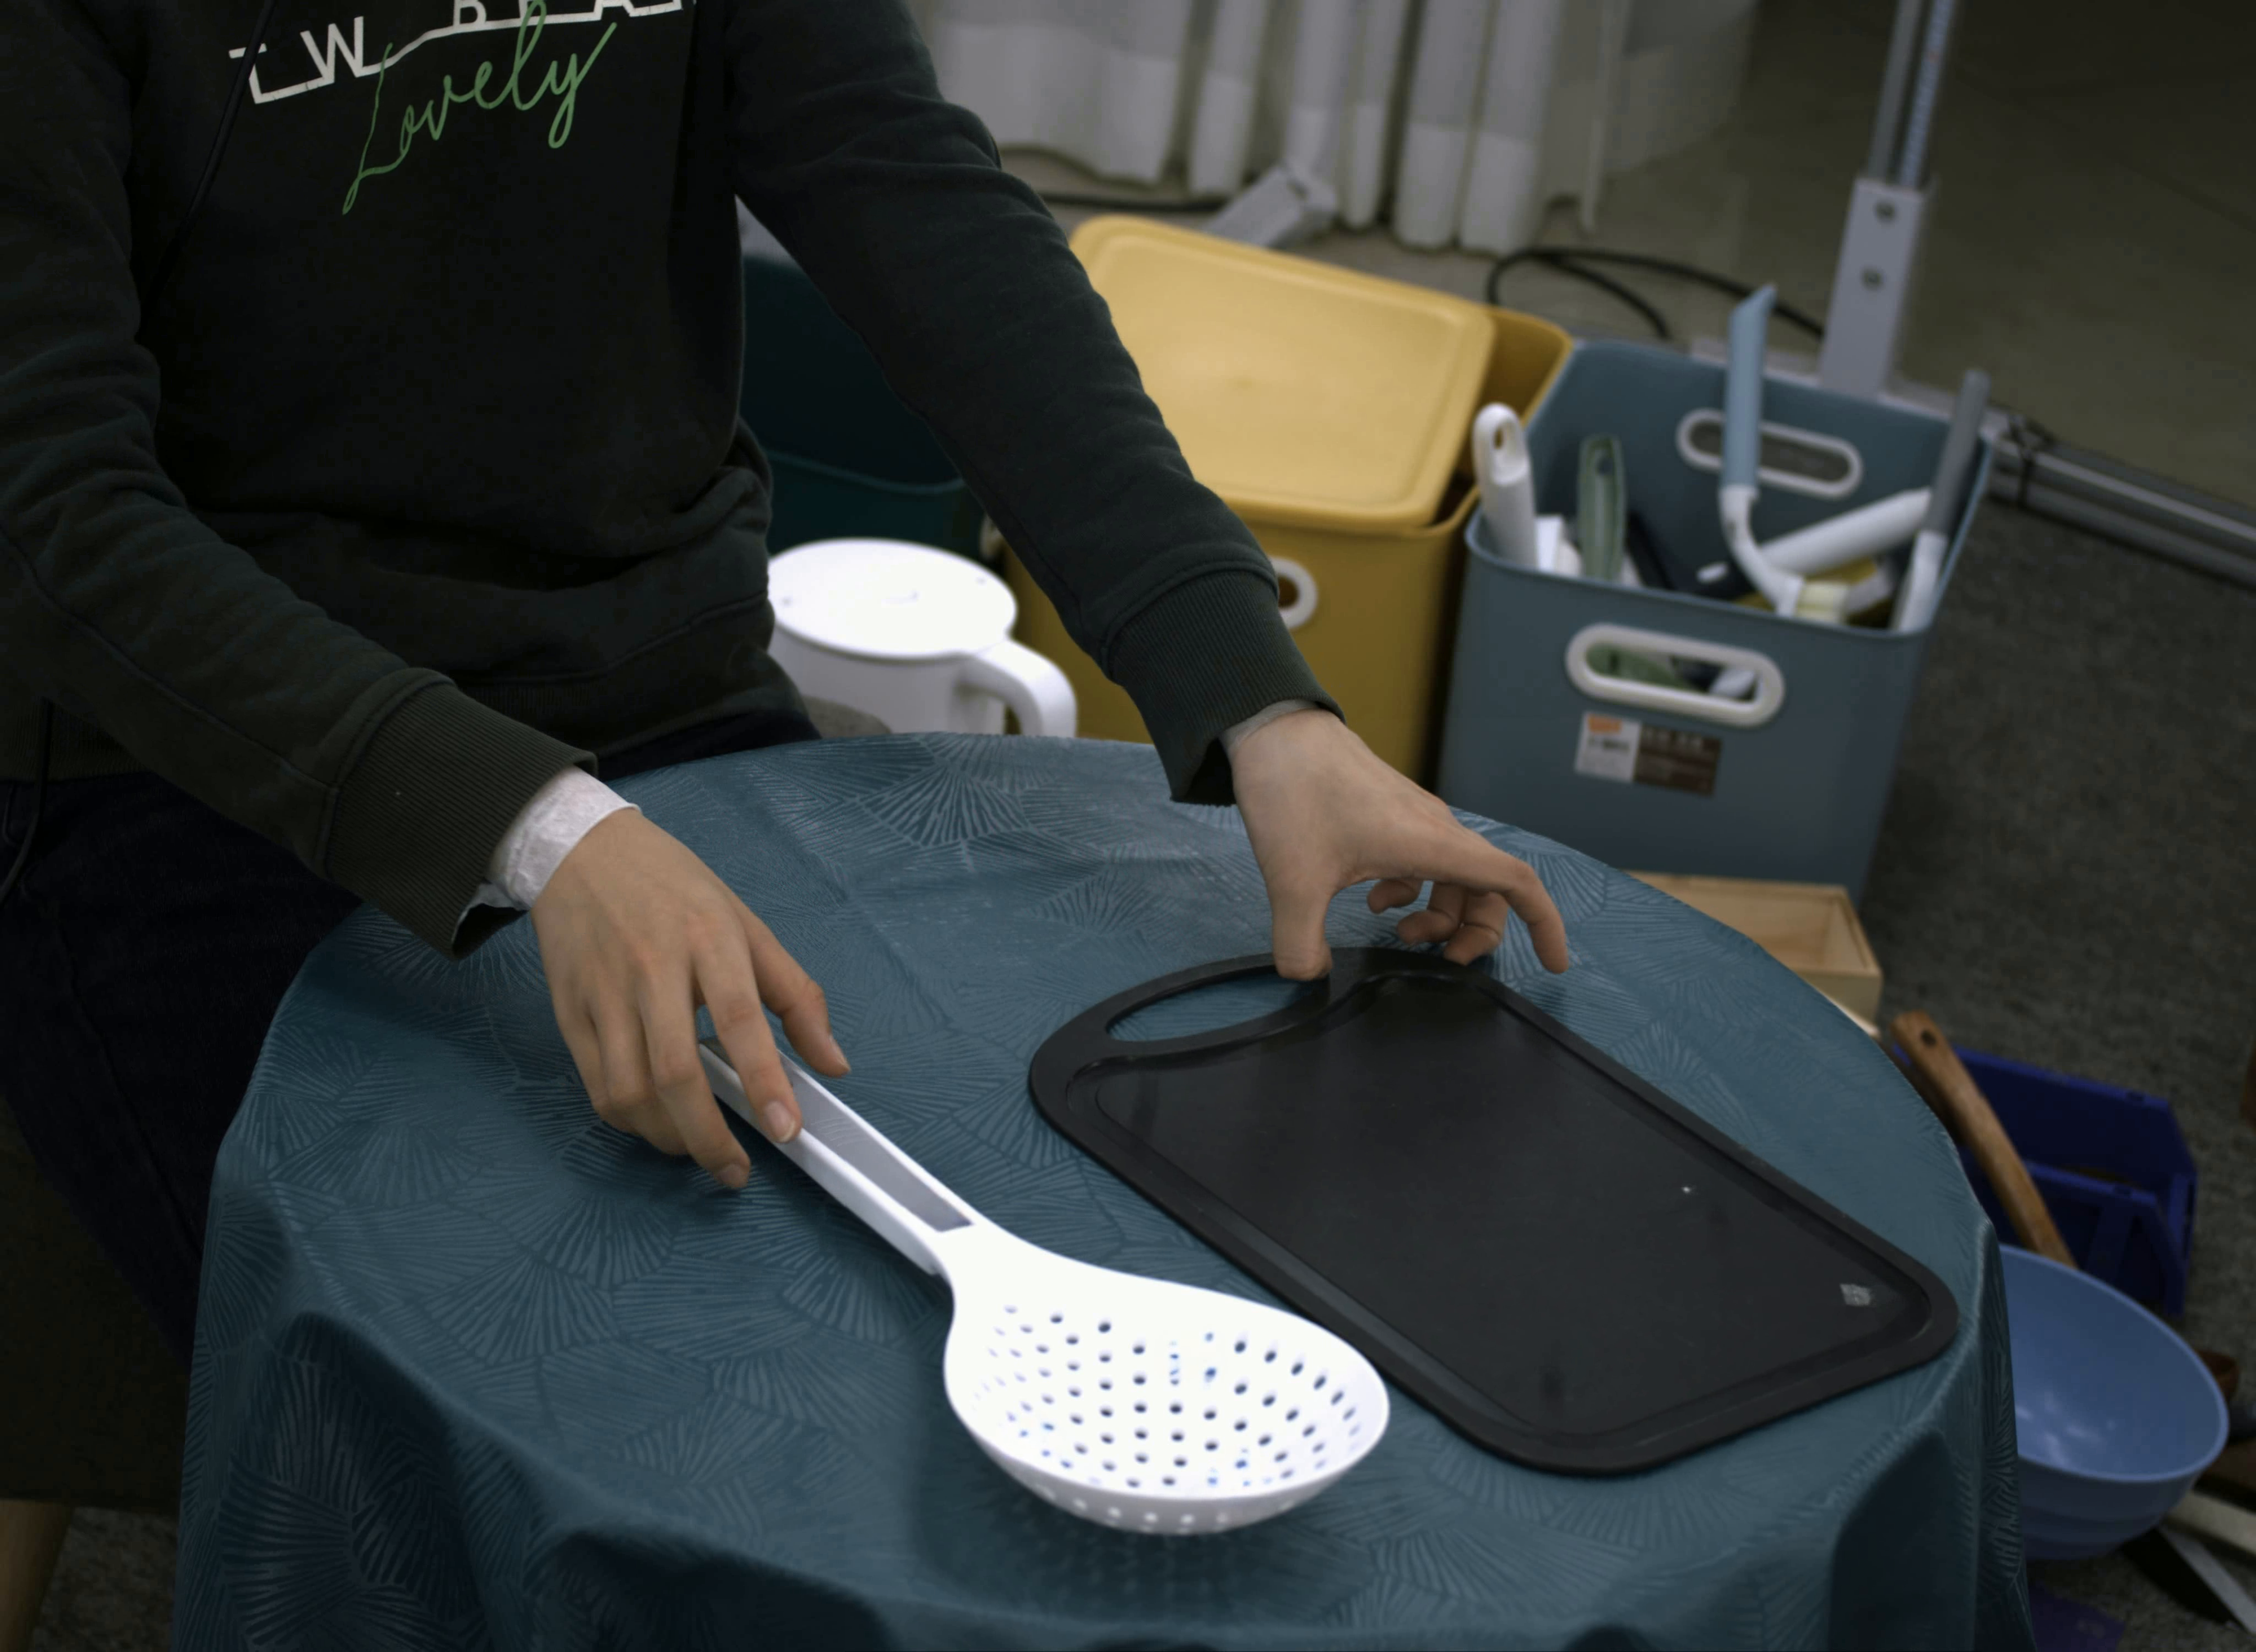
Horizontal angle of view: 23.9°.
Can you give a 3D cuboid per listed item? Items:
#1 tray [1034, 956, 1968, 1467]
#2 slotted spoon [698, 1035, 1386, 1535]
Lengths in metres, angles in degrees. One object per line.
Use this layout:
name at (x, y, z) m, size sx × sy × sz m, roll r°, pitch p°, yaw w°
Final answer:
tray at (0.118, 0.122, 1.823) m, size 0.210 × 0.010 × 0.328 m, roll -14°, pitch 33°, yaw -36°
slotted spoon at (-0.047, 0.140, 1.706) m, size 0.135 × 0.045 × 0.353 m, roll -8°, pitch 29°, yaw -31°
